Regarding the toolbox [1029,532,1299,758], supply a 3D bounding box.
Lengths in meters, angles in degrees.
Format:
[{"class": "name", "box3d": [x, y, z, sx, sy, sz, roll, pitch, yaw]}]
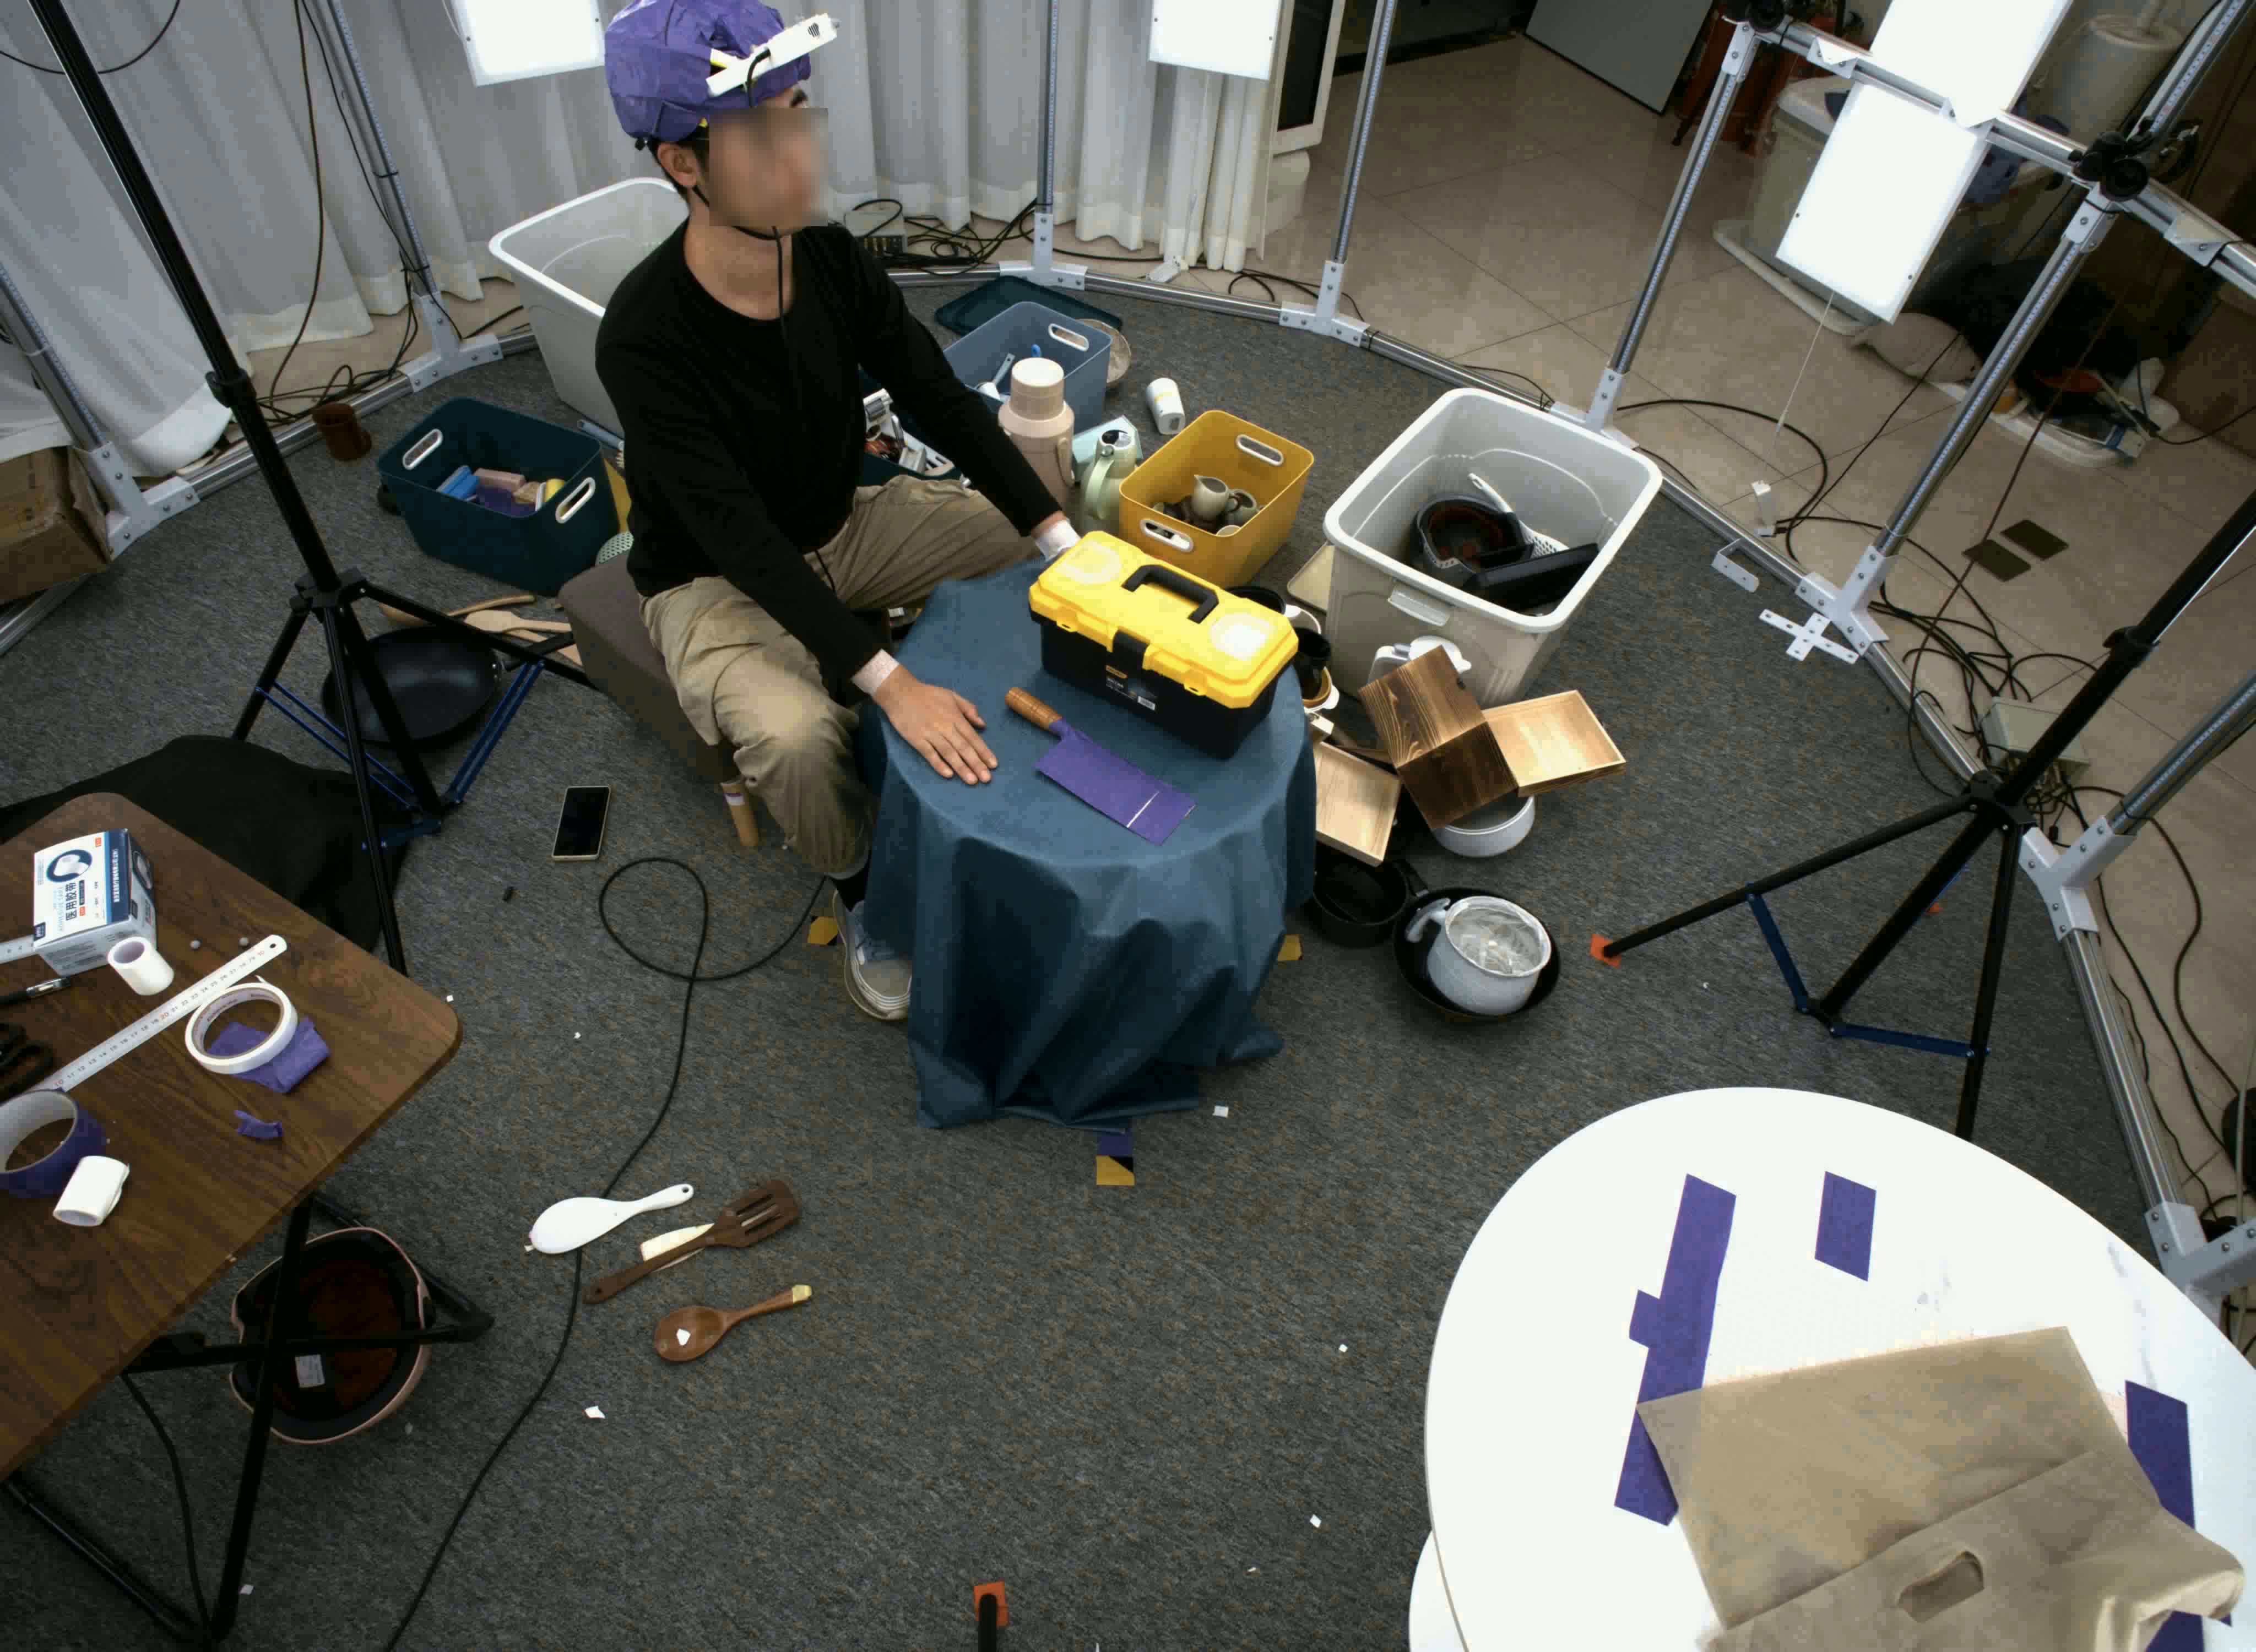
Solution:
[{"class": "toolbox", "box3d": [0.043, -0.249, 1.778, 0.355, 0.168, 0.184, 29, 52, 20]}]

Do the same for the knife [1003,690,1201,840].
[{"class": "knife", "box3d": [-0.057, -0.084, 1.722, 0.318, 0.031, 0.105, 31, 54, 20]}]
